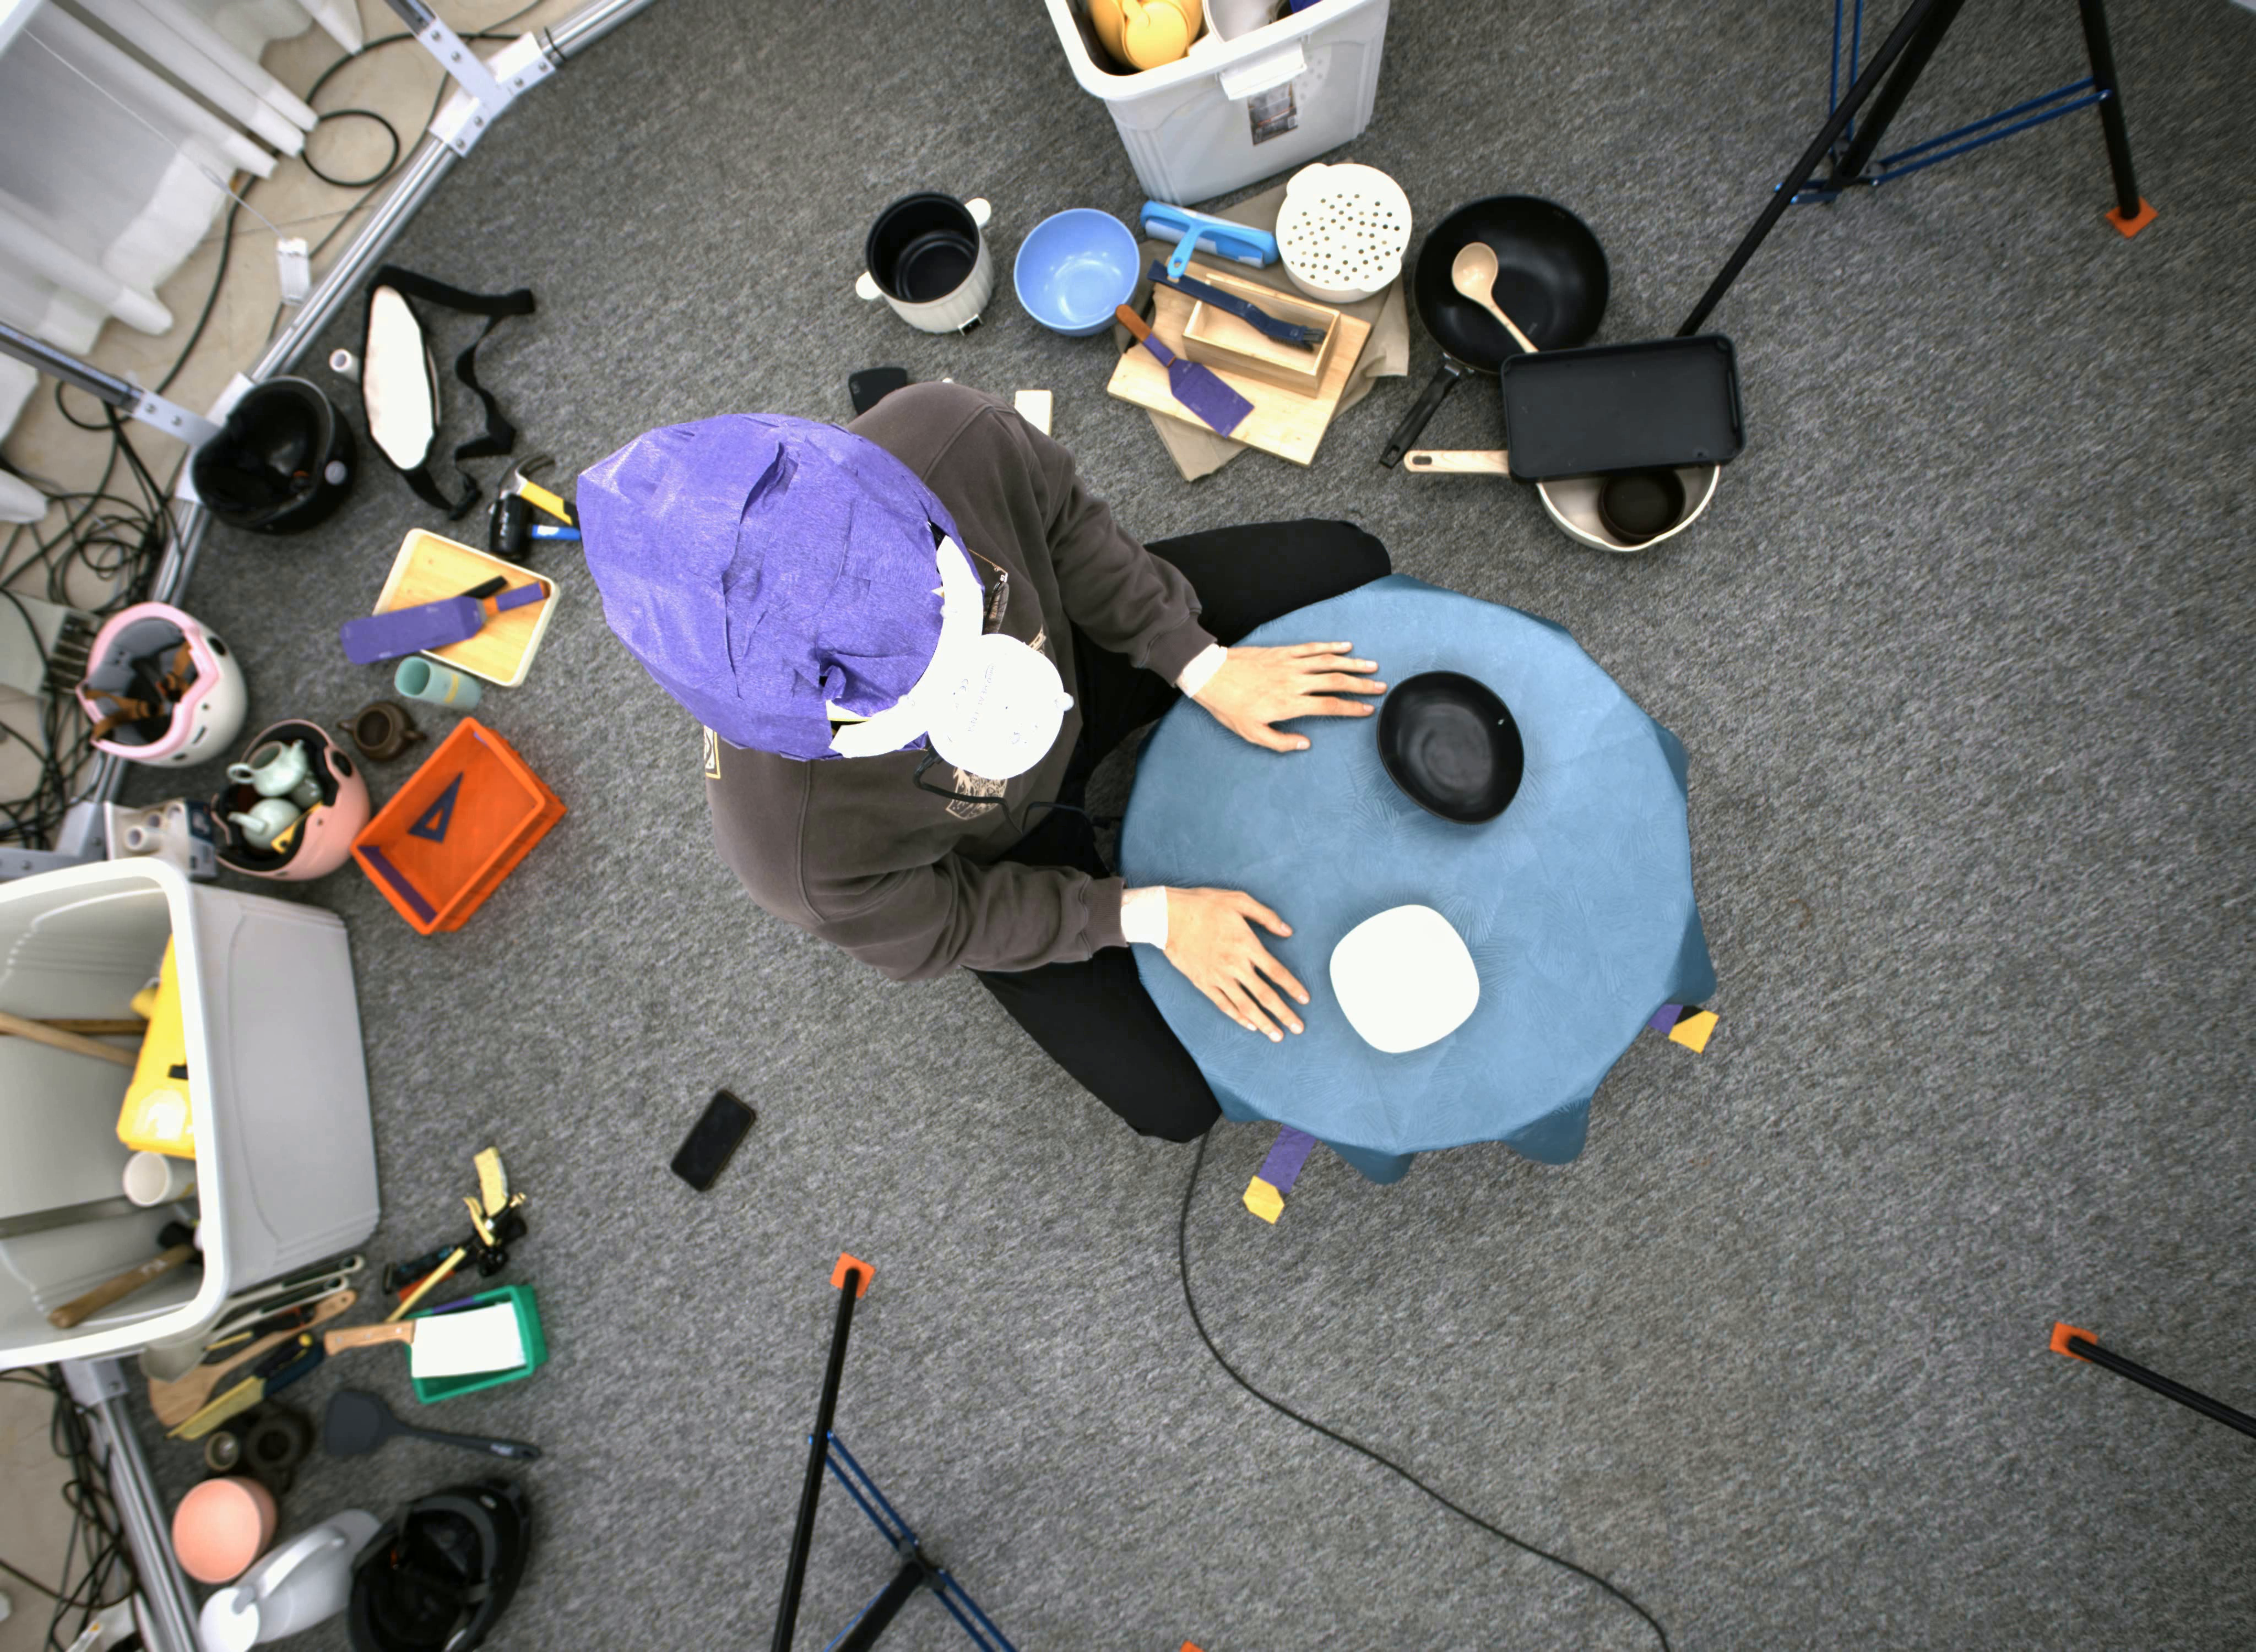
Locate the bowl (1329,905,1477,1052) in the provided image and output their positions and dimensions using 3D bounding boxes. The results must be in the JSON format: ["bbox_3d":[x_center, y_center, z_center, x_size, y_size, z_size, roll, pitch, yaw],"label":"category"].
[{"bbox_3d":[0.281,0.155,1.422,0.152,0.059,0.151,-1,86,8],"label":"bowl"}]

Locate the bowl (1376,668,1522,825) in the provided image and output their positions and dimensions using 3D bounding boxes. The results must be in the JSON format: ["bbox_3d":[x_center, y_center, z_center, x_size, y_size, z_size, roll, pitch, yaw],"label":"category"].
[{"bbox_3d":[0.332,-0.082,1.421,0.138,0.066,0.169,-36,83,7],"label":"bowl"}]
